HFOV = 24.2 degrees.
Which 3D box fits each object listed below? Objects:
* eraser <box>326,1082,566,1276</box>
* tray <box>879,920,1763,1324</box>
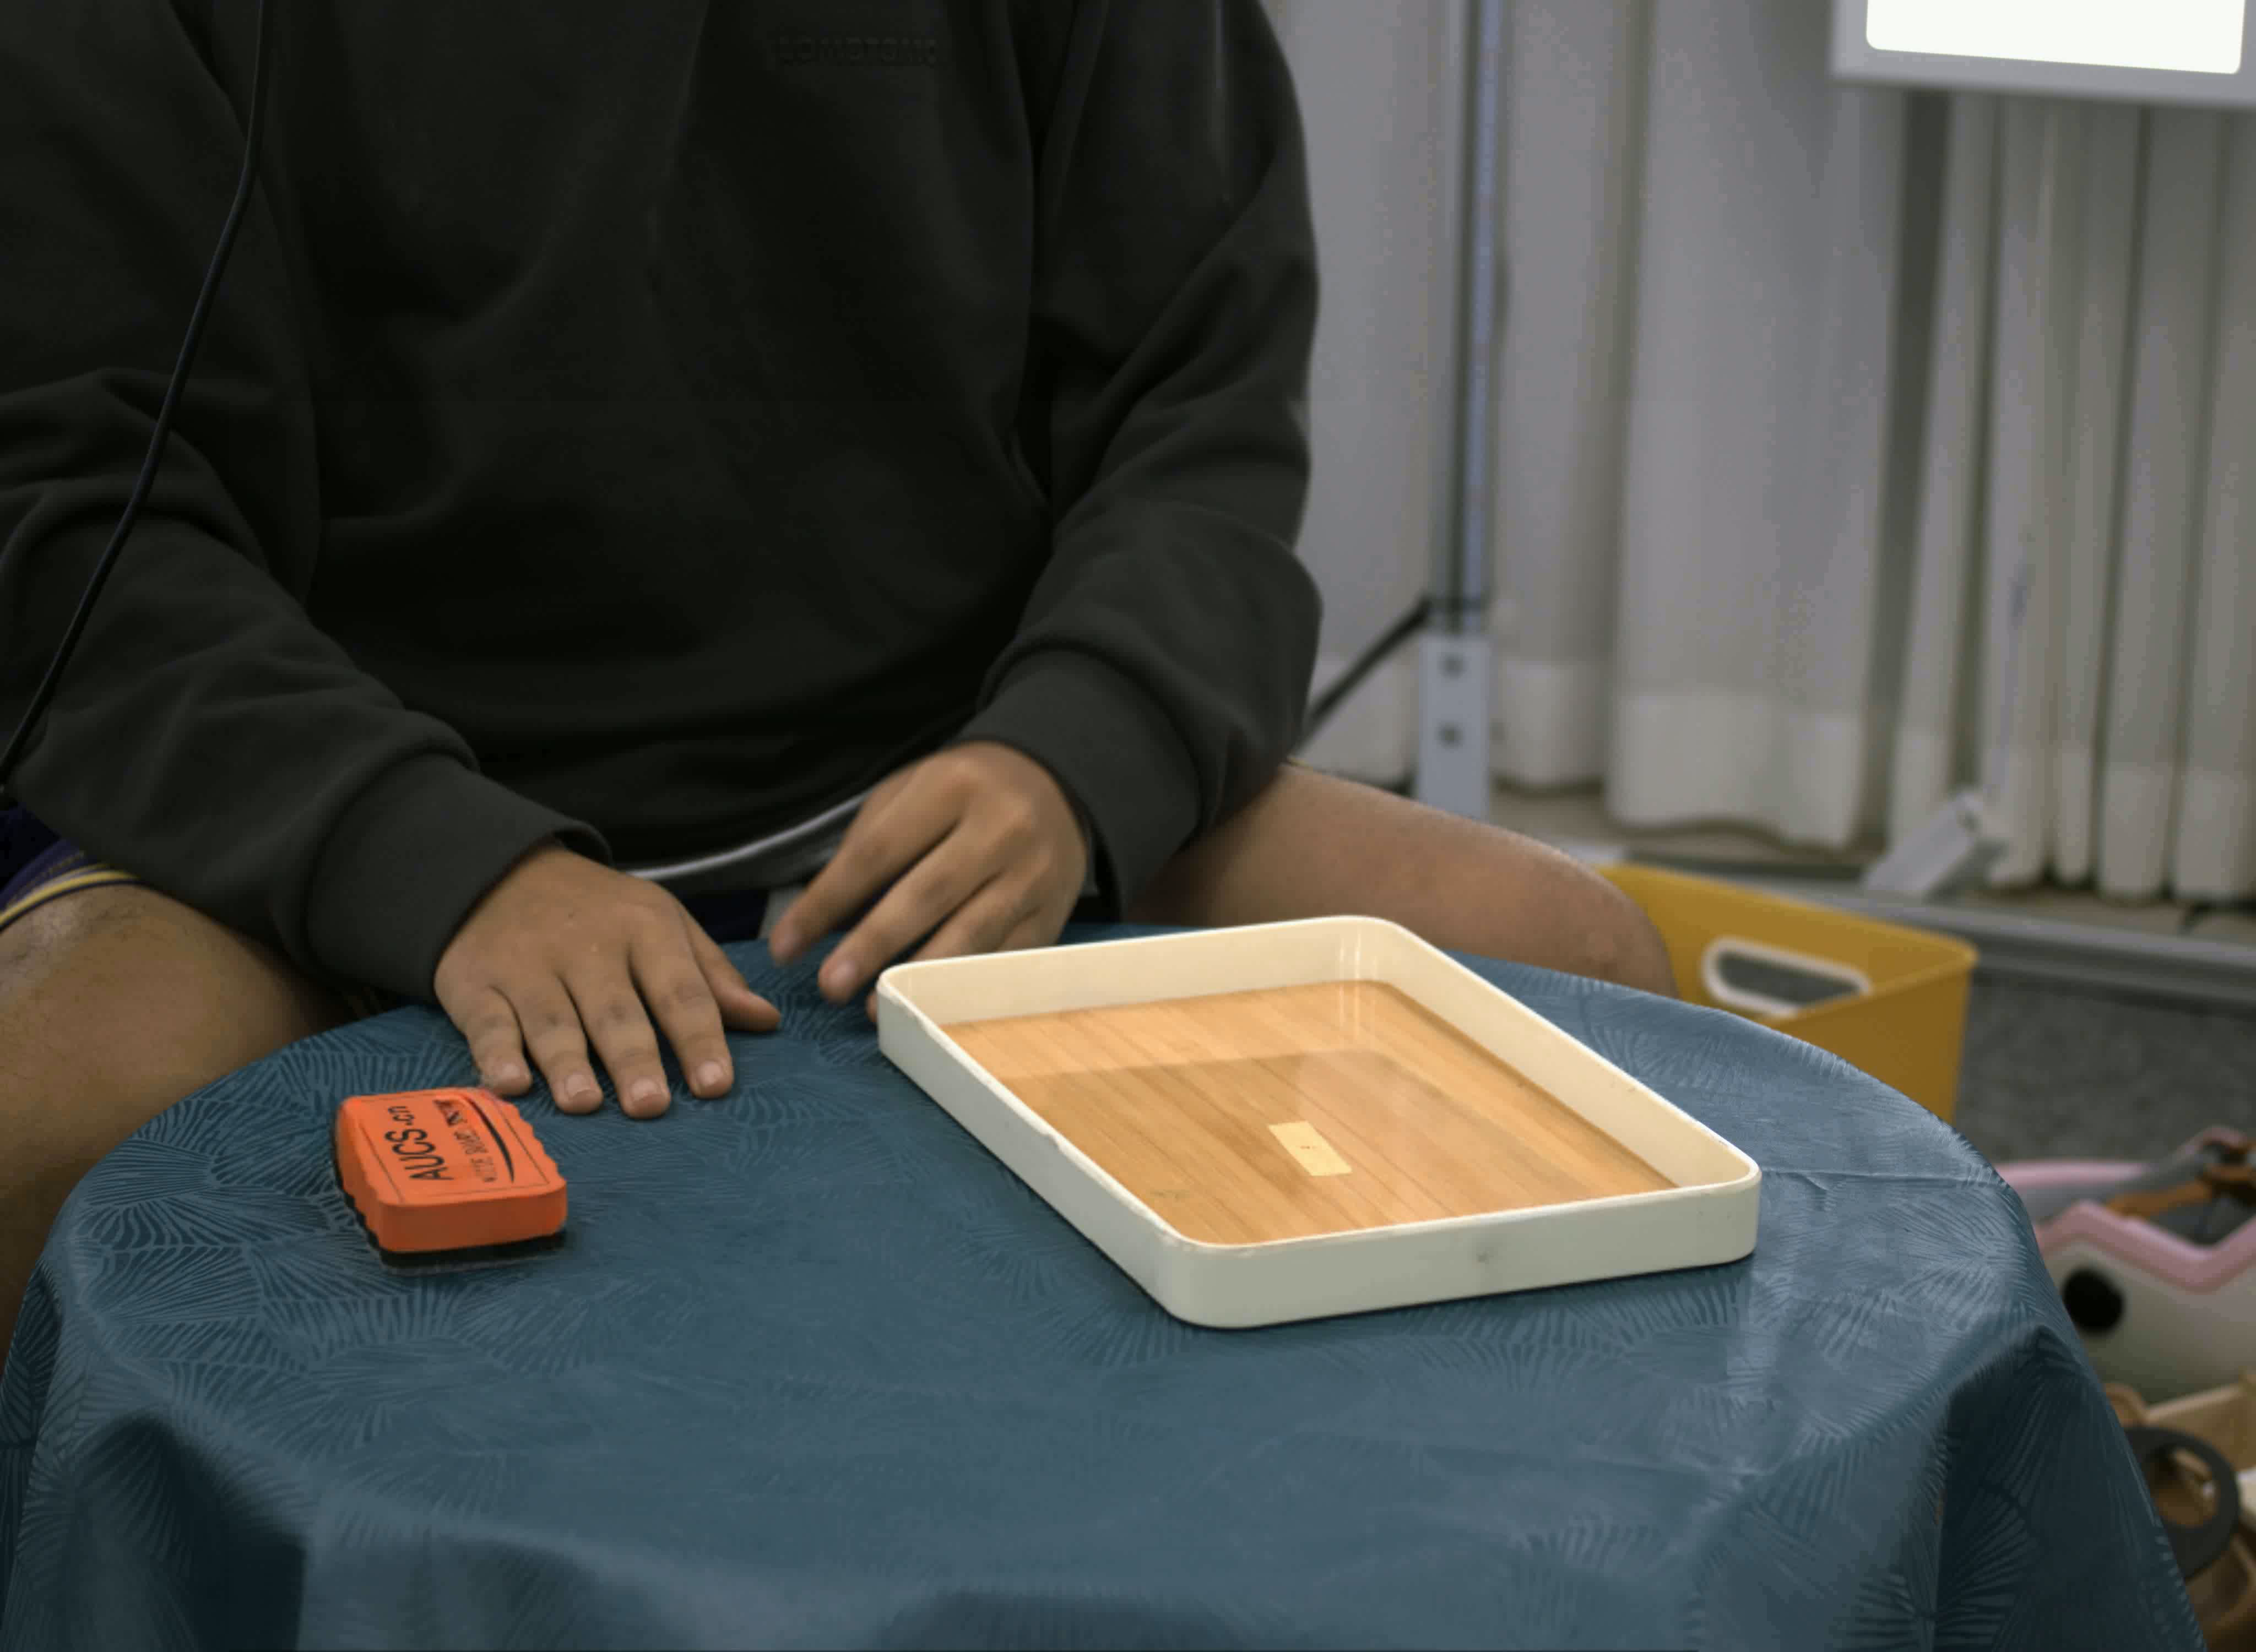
[{"bbox_3d":[-0.207,0.106,1.593,0.059,0.023,0.107,-4,17,-17],"label":"eraser"},{"bbox_3d":[0.053,0.088,1.662,0.192,0.027,0.297,-5,16,-21],"label":"tray"}]
